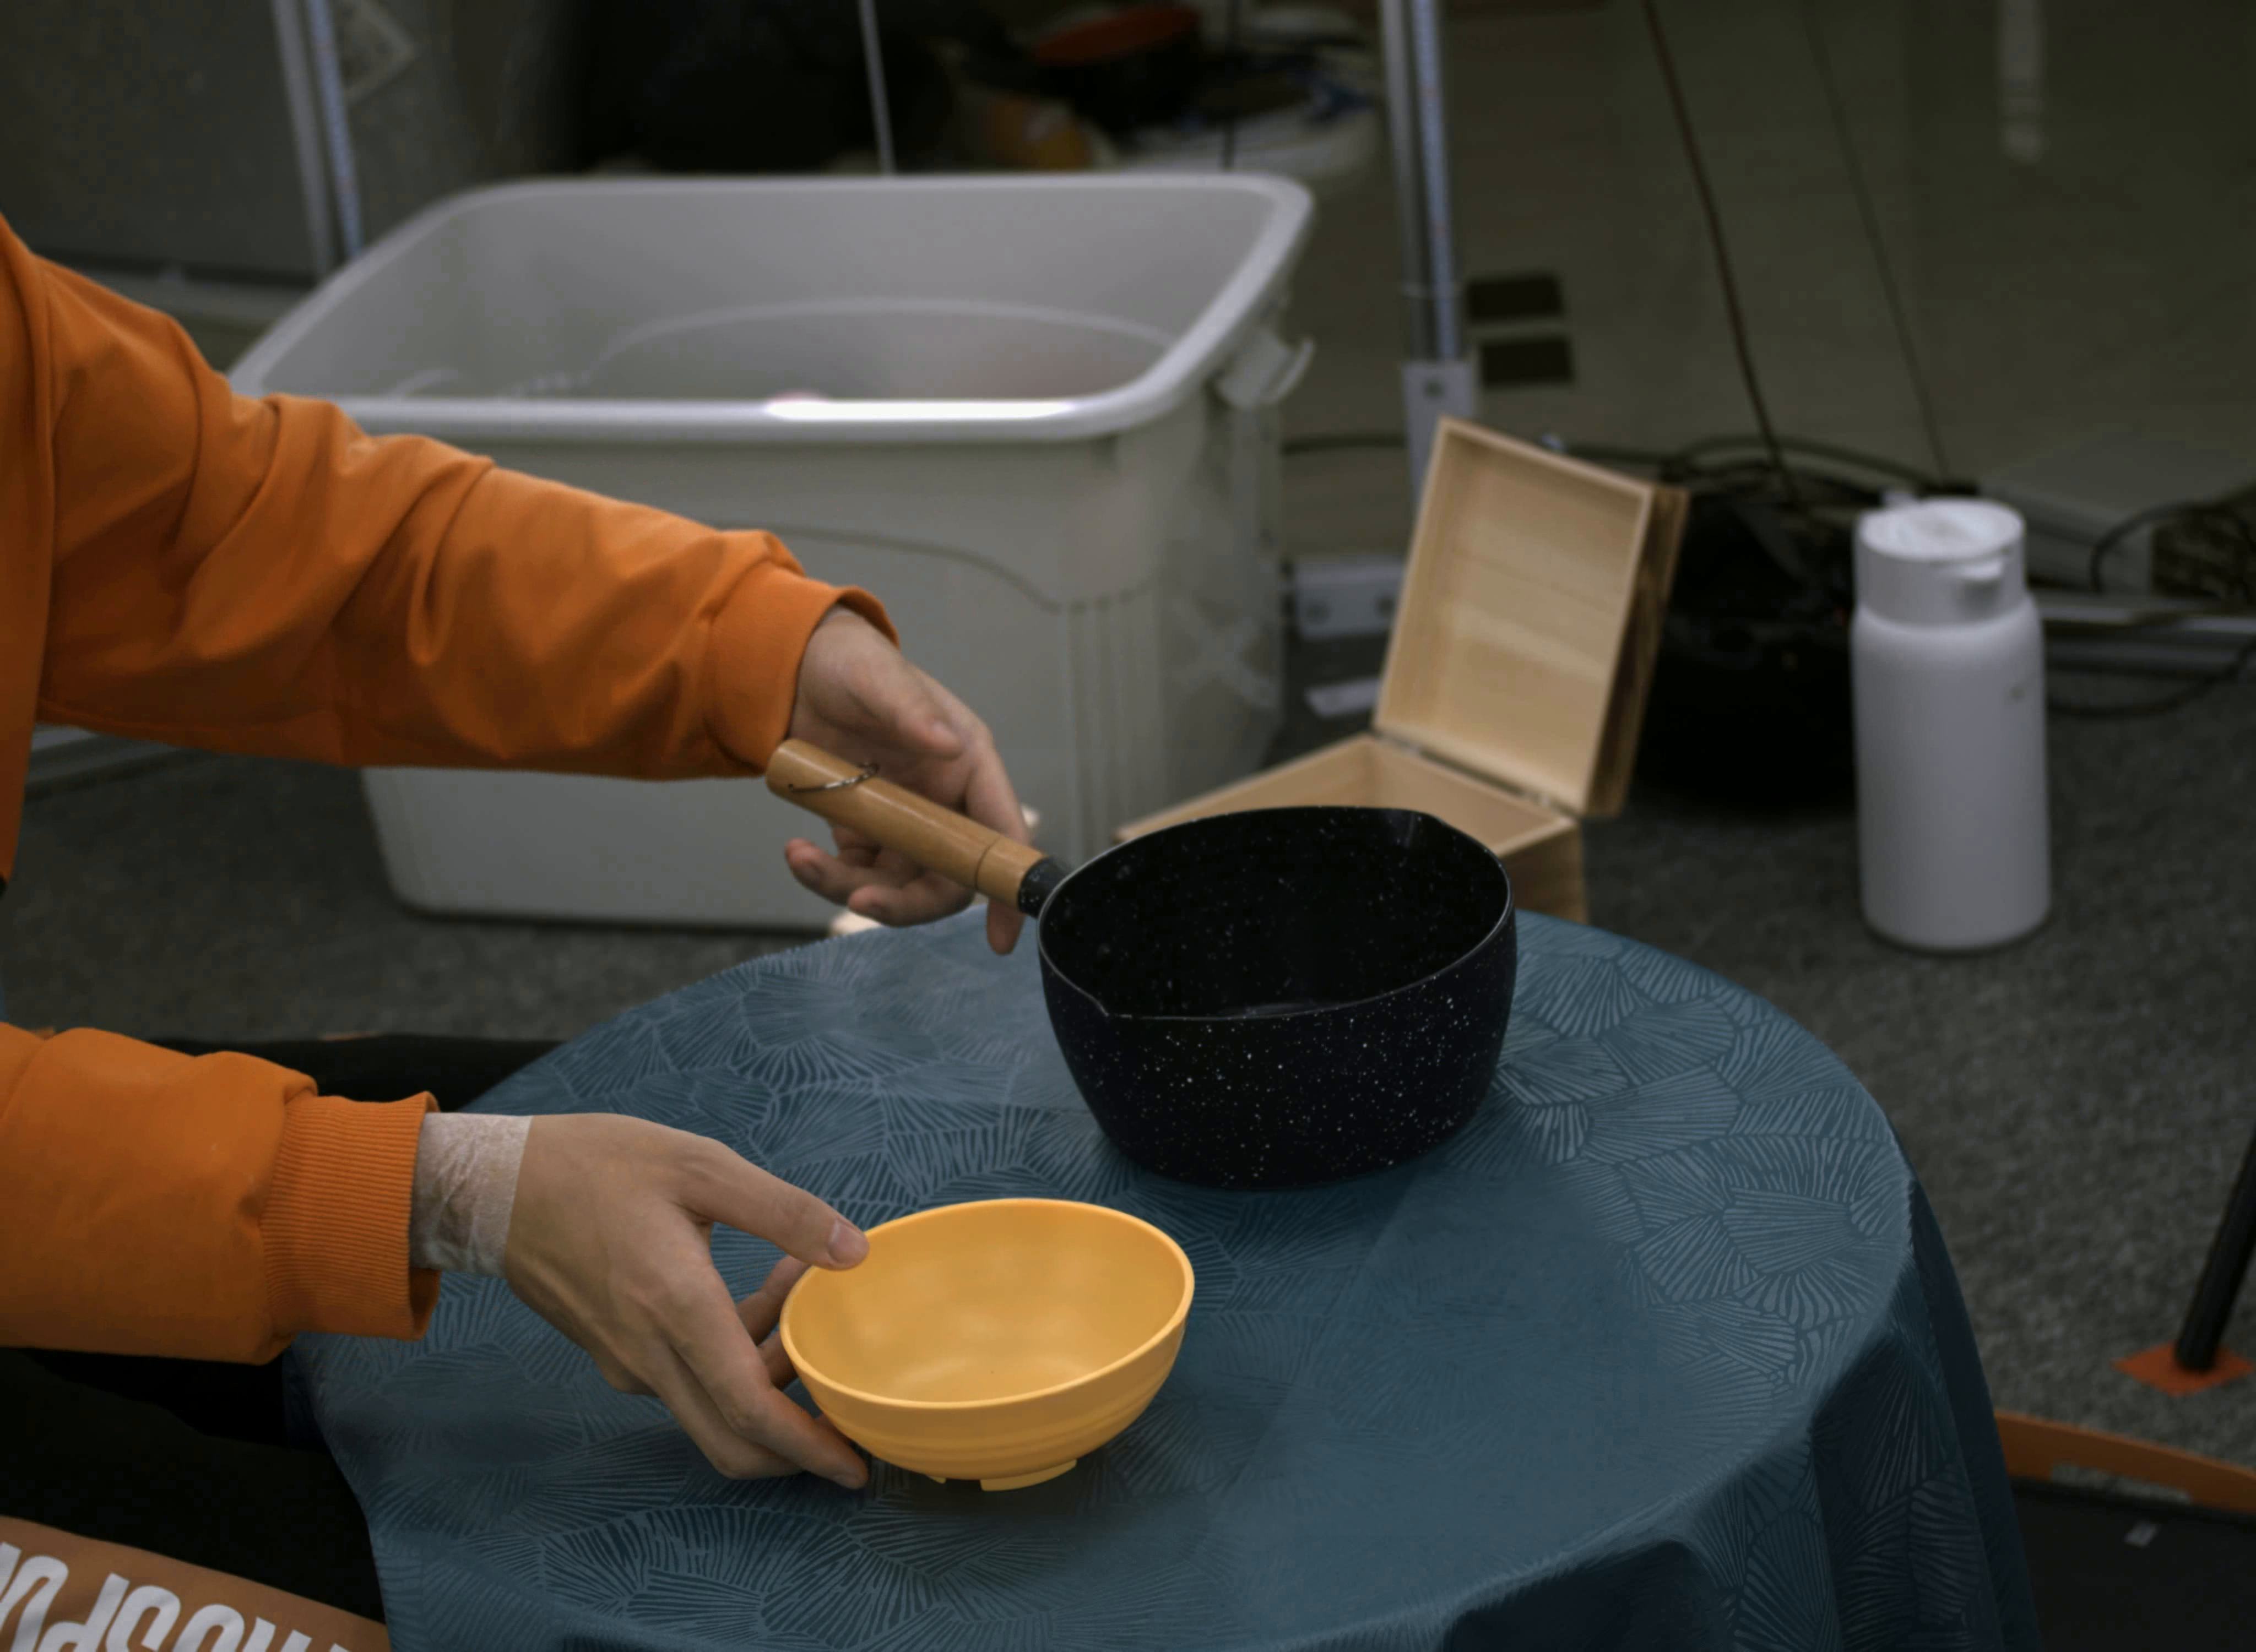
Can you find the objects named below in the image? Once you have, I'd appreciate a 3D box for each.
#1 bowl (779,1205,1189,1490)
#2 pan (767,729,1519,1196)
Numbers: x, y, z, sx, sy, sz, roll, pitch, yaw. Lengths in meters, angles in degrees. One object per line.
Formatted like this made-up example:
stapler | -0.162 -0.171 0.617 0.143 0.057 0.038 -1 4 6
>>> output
bowl | -0.048 0.190 1.979 0.145 0.061 0.143 -5 24 2
pan | -0.005 0.044 2.221 0.341 0.110 0.205 14 33 34
